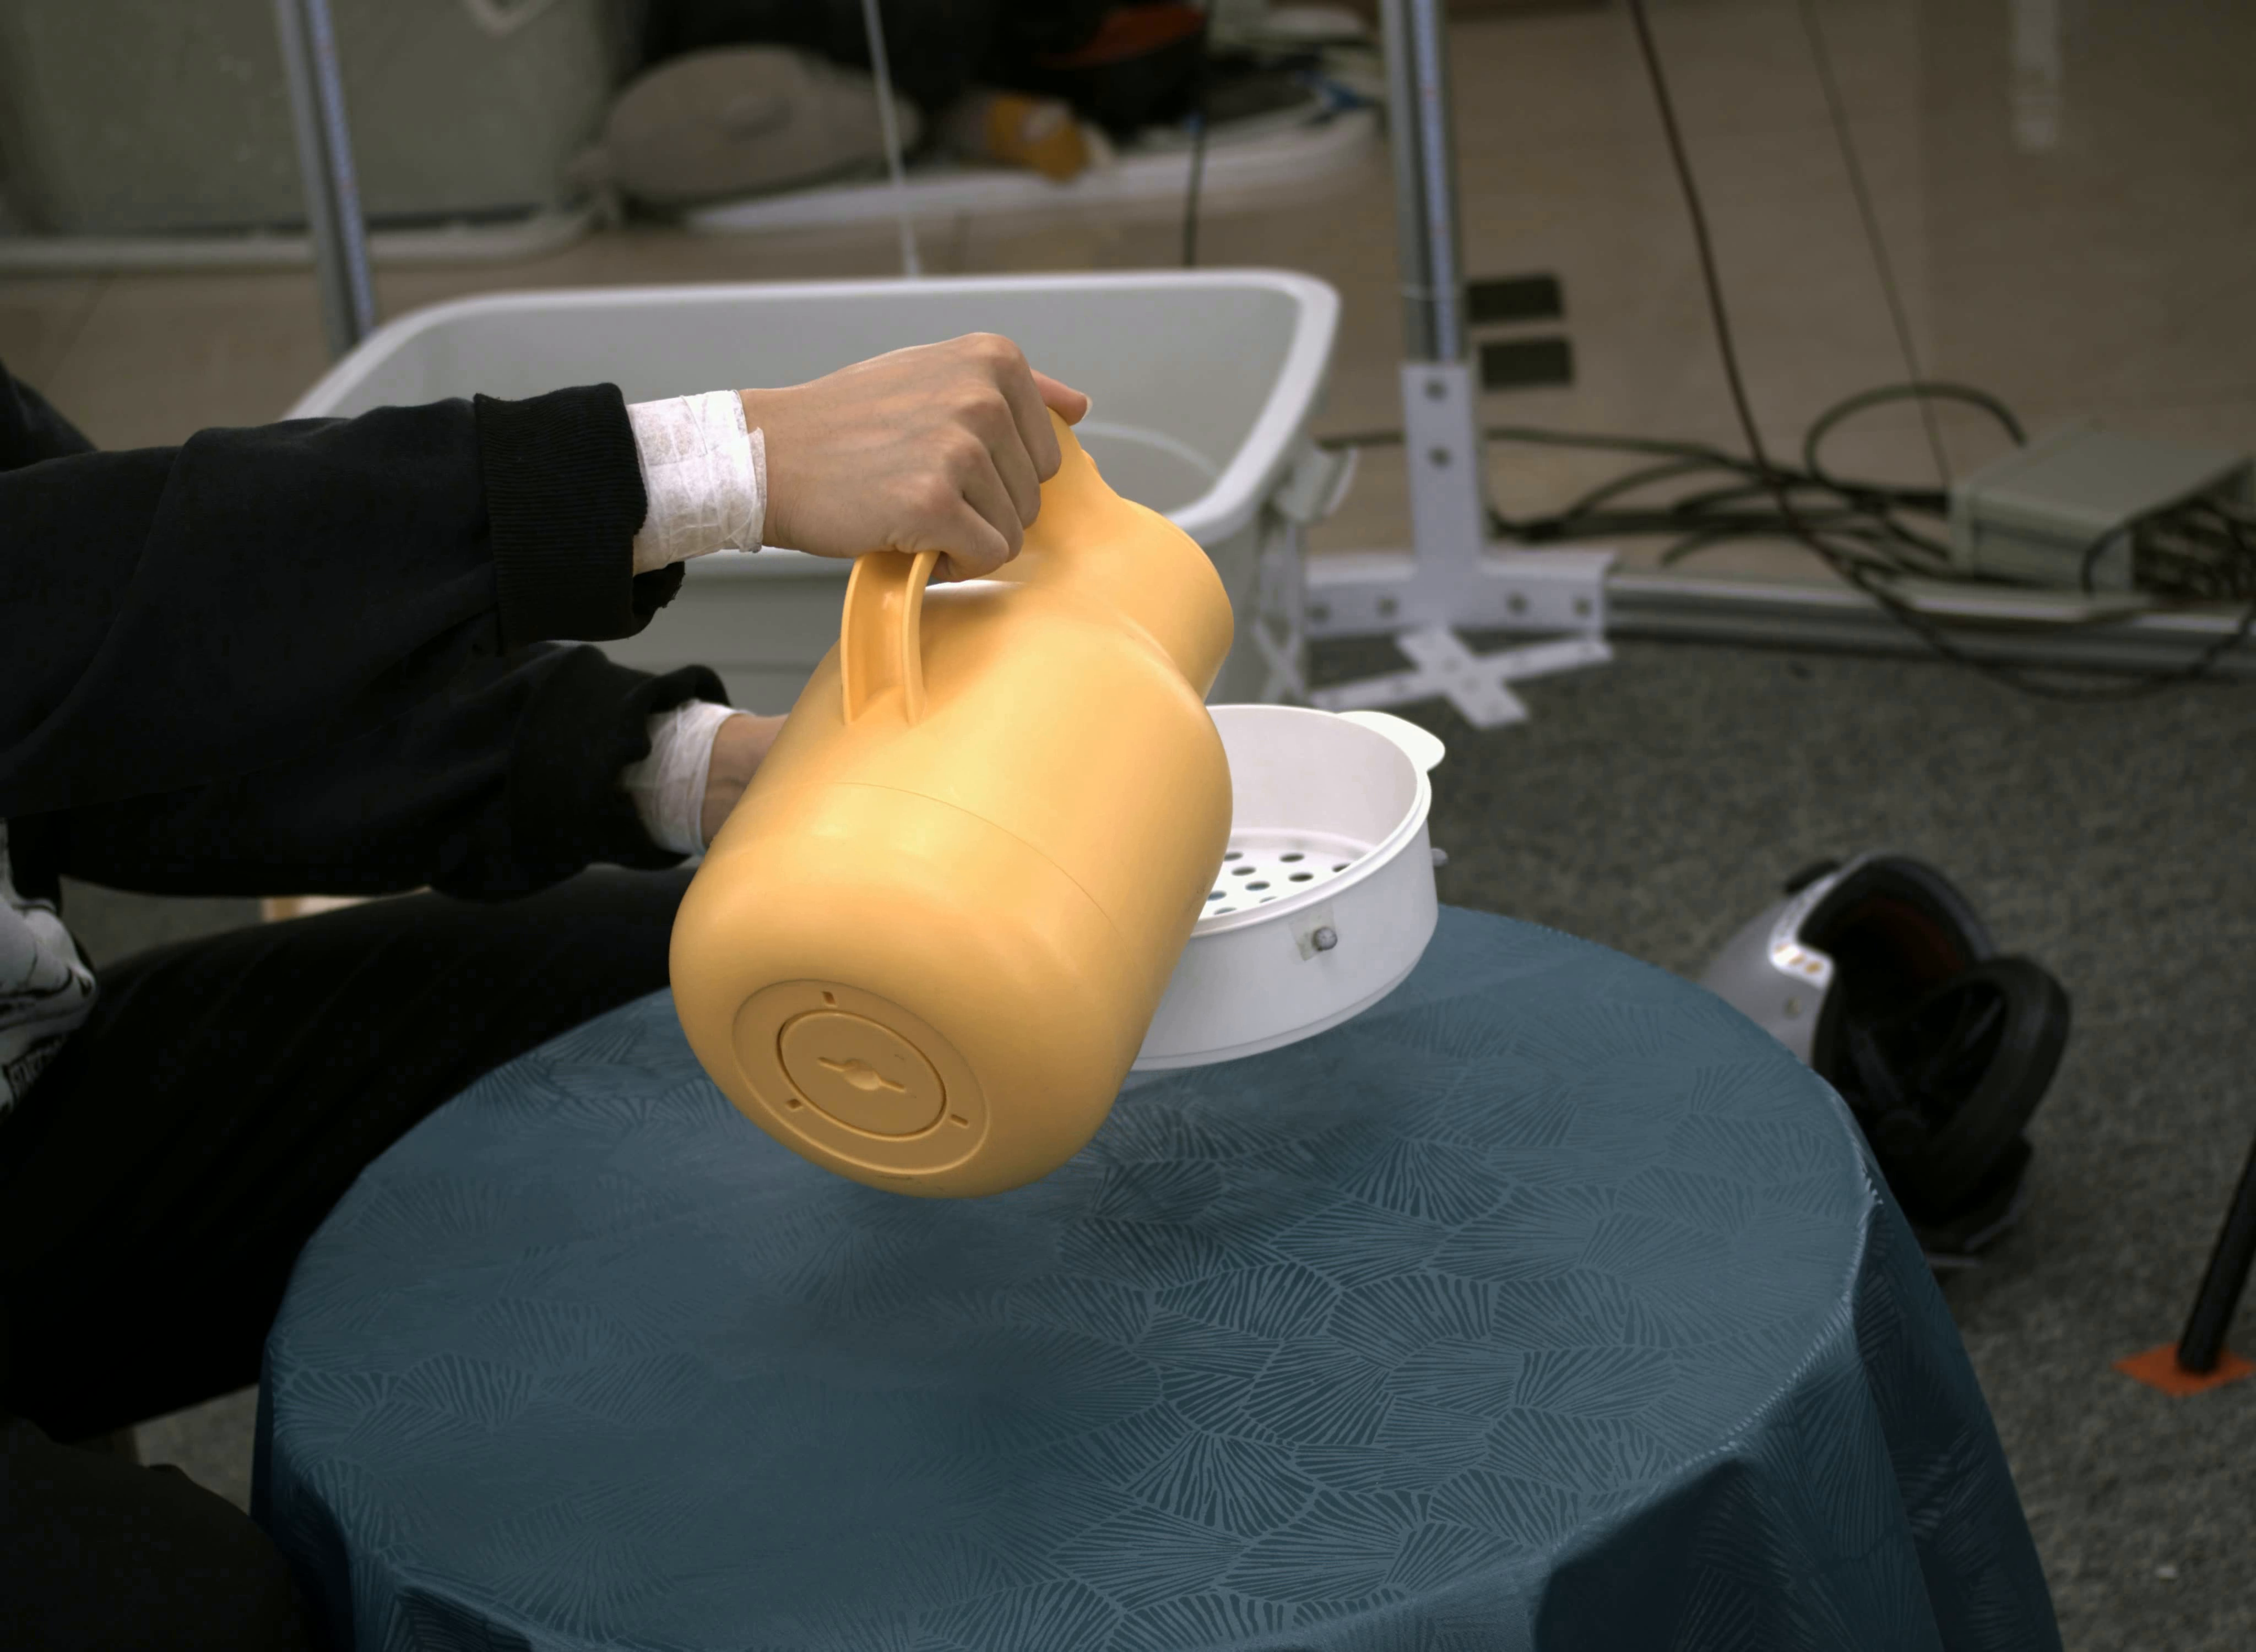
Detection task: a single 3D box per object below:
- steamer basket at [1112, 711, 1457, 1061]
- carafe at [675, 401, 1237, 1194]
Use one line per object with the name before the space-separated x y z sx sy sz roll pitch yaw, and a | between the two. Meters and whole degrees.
steamer basket | 0.025 0.024 2.180 0.229 0.070 0.200 -20 25 -25
carafe | -0.053 -0.020 1.978 0.163 0.206 0.256 -2 42 27
